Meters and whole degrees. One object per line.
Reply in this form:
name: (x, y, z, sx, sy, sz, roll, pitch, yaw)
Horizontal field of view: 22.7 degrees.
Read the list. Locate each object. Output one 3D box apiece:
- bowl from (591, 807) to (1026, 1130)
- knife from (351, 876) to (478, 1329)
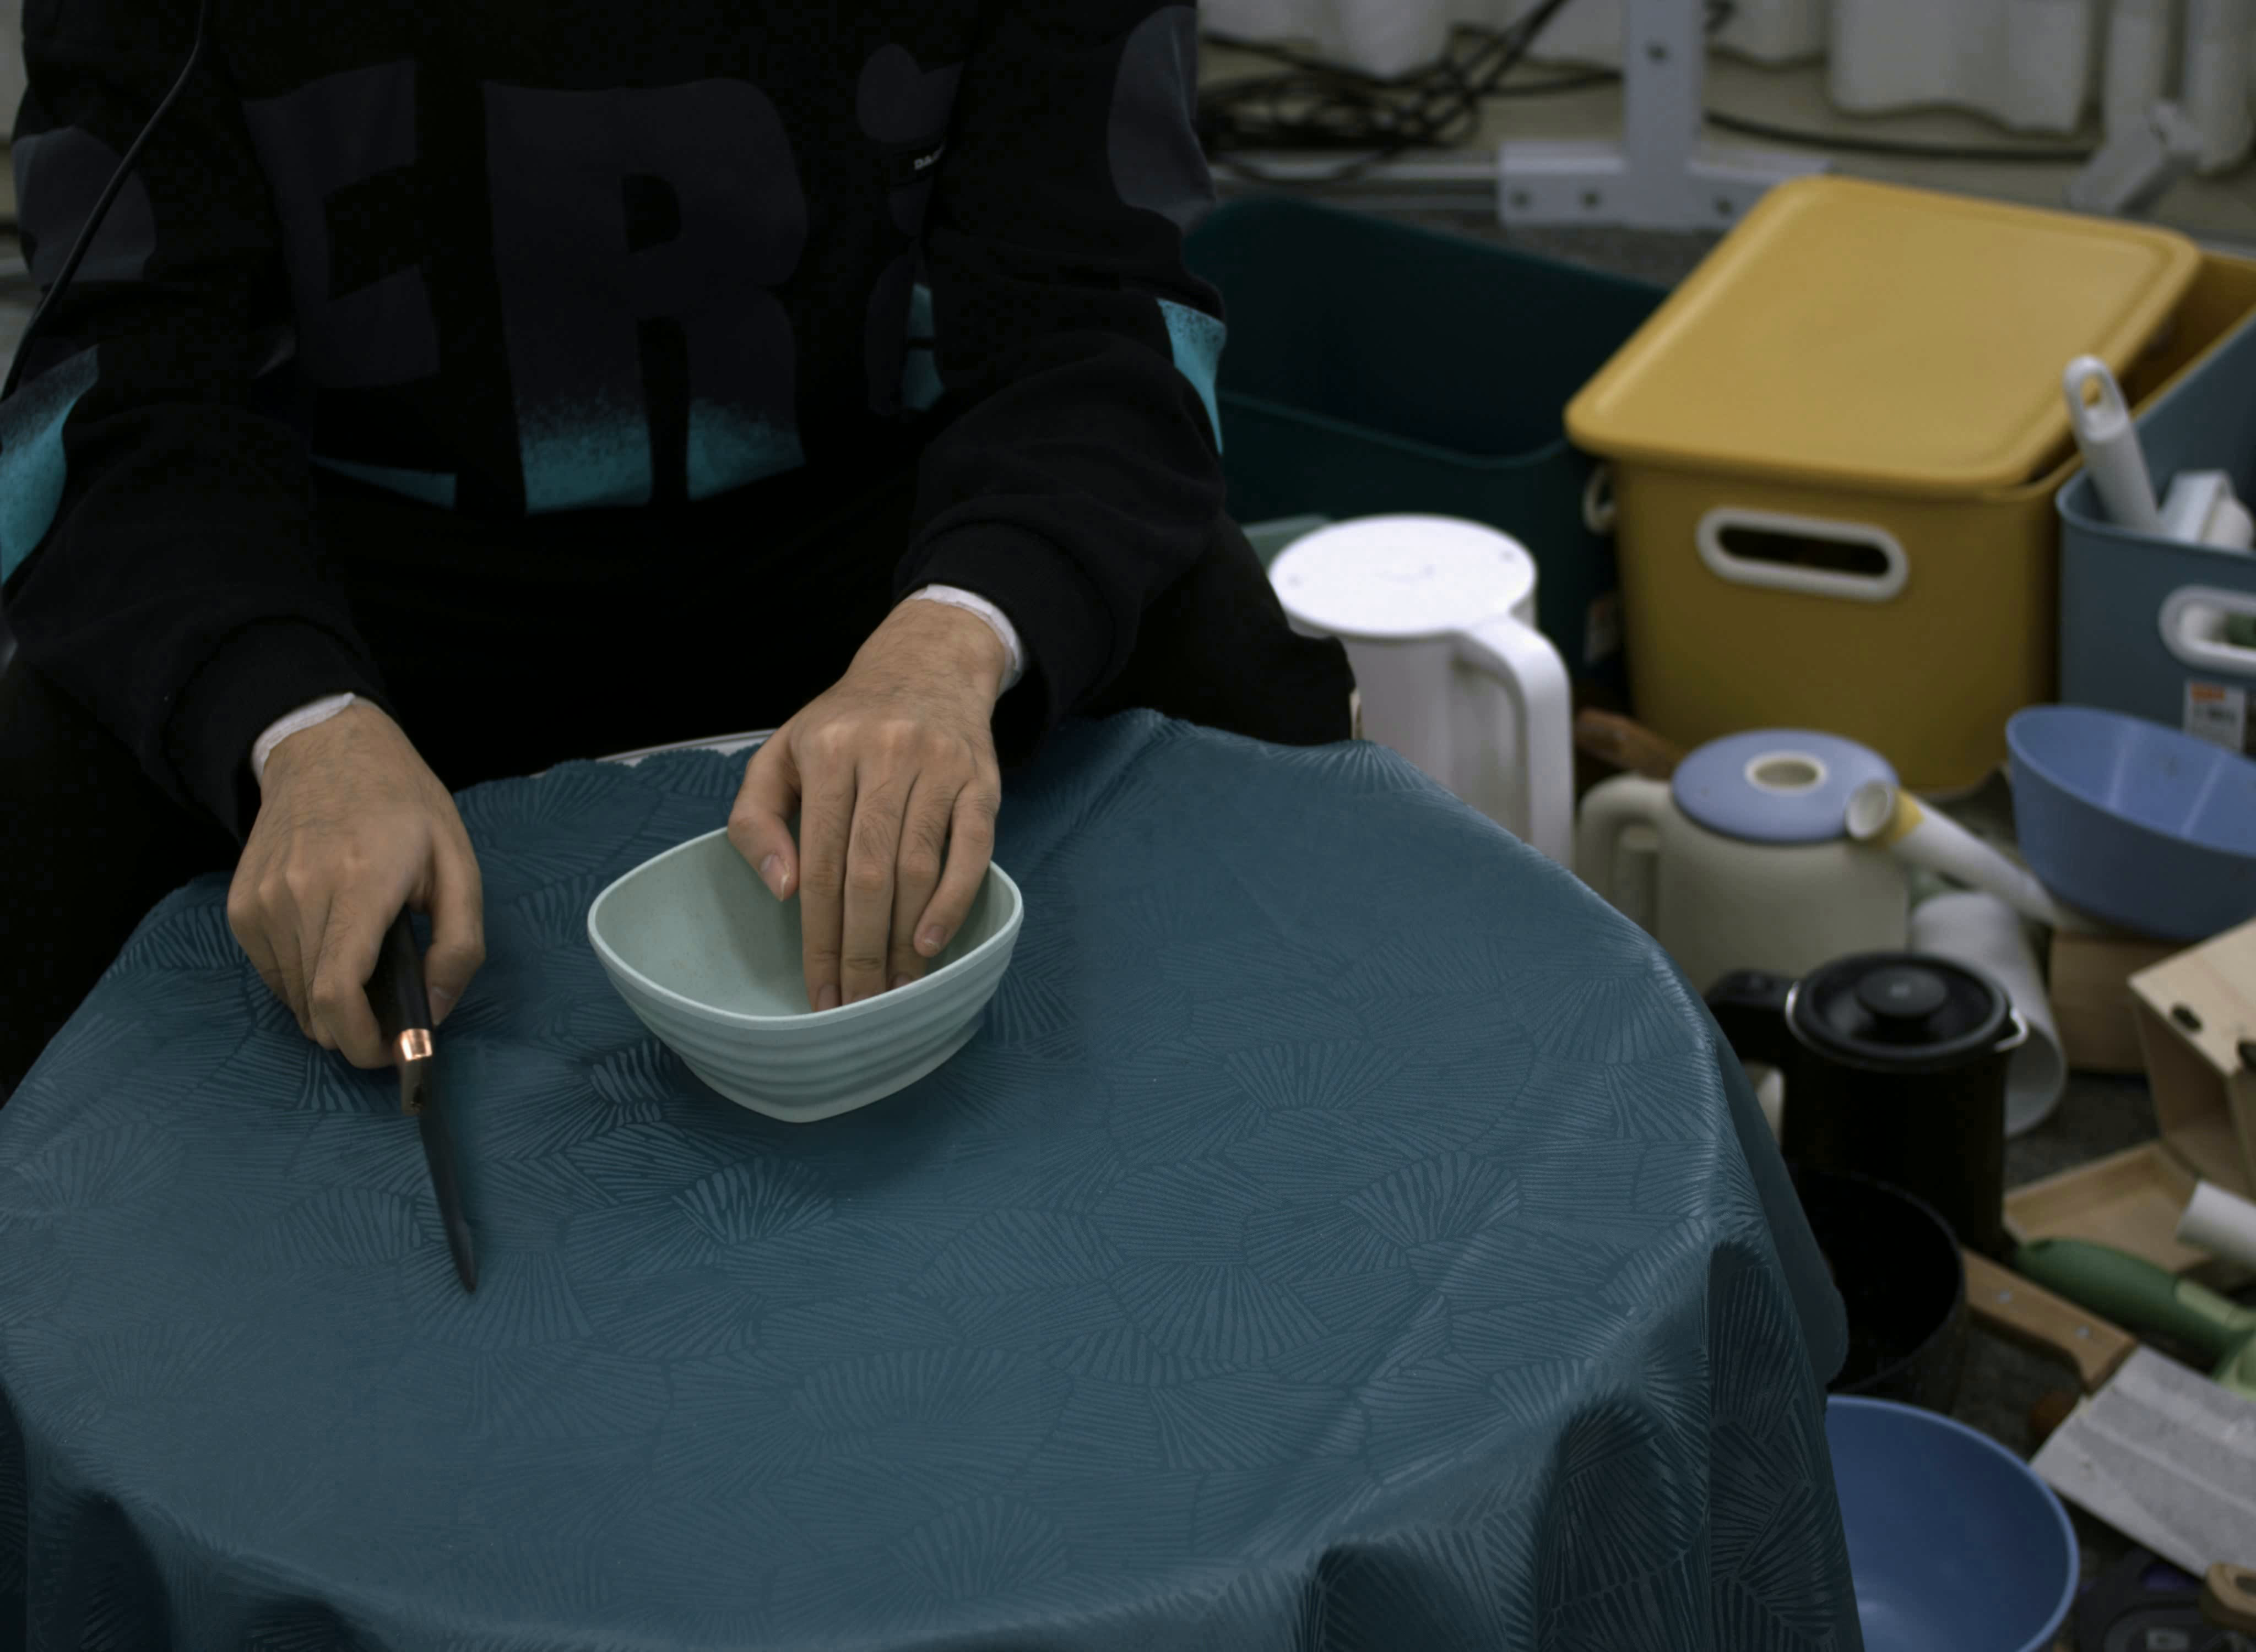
bowl: (-0.108, 0.055, 1.942, 0.150, 0.058, 0.154, -3, 28, 2)
knife: (-0.240, 0.091, 1.906, 0.017, 0.026, 0.229, 11, 32, -25)
